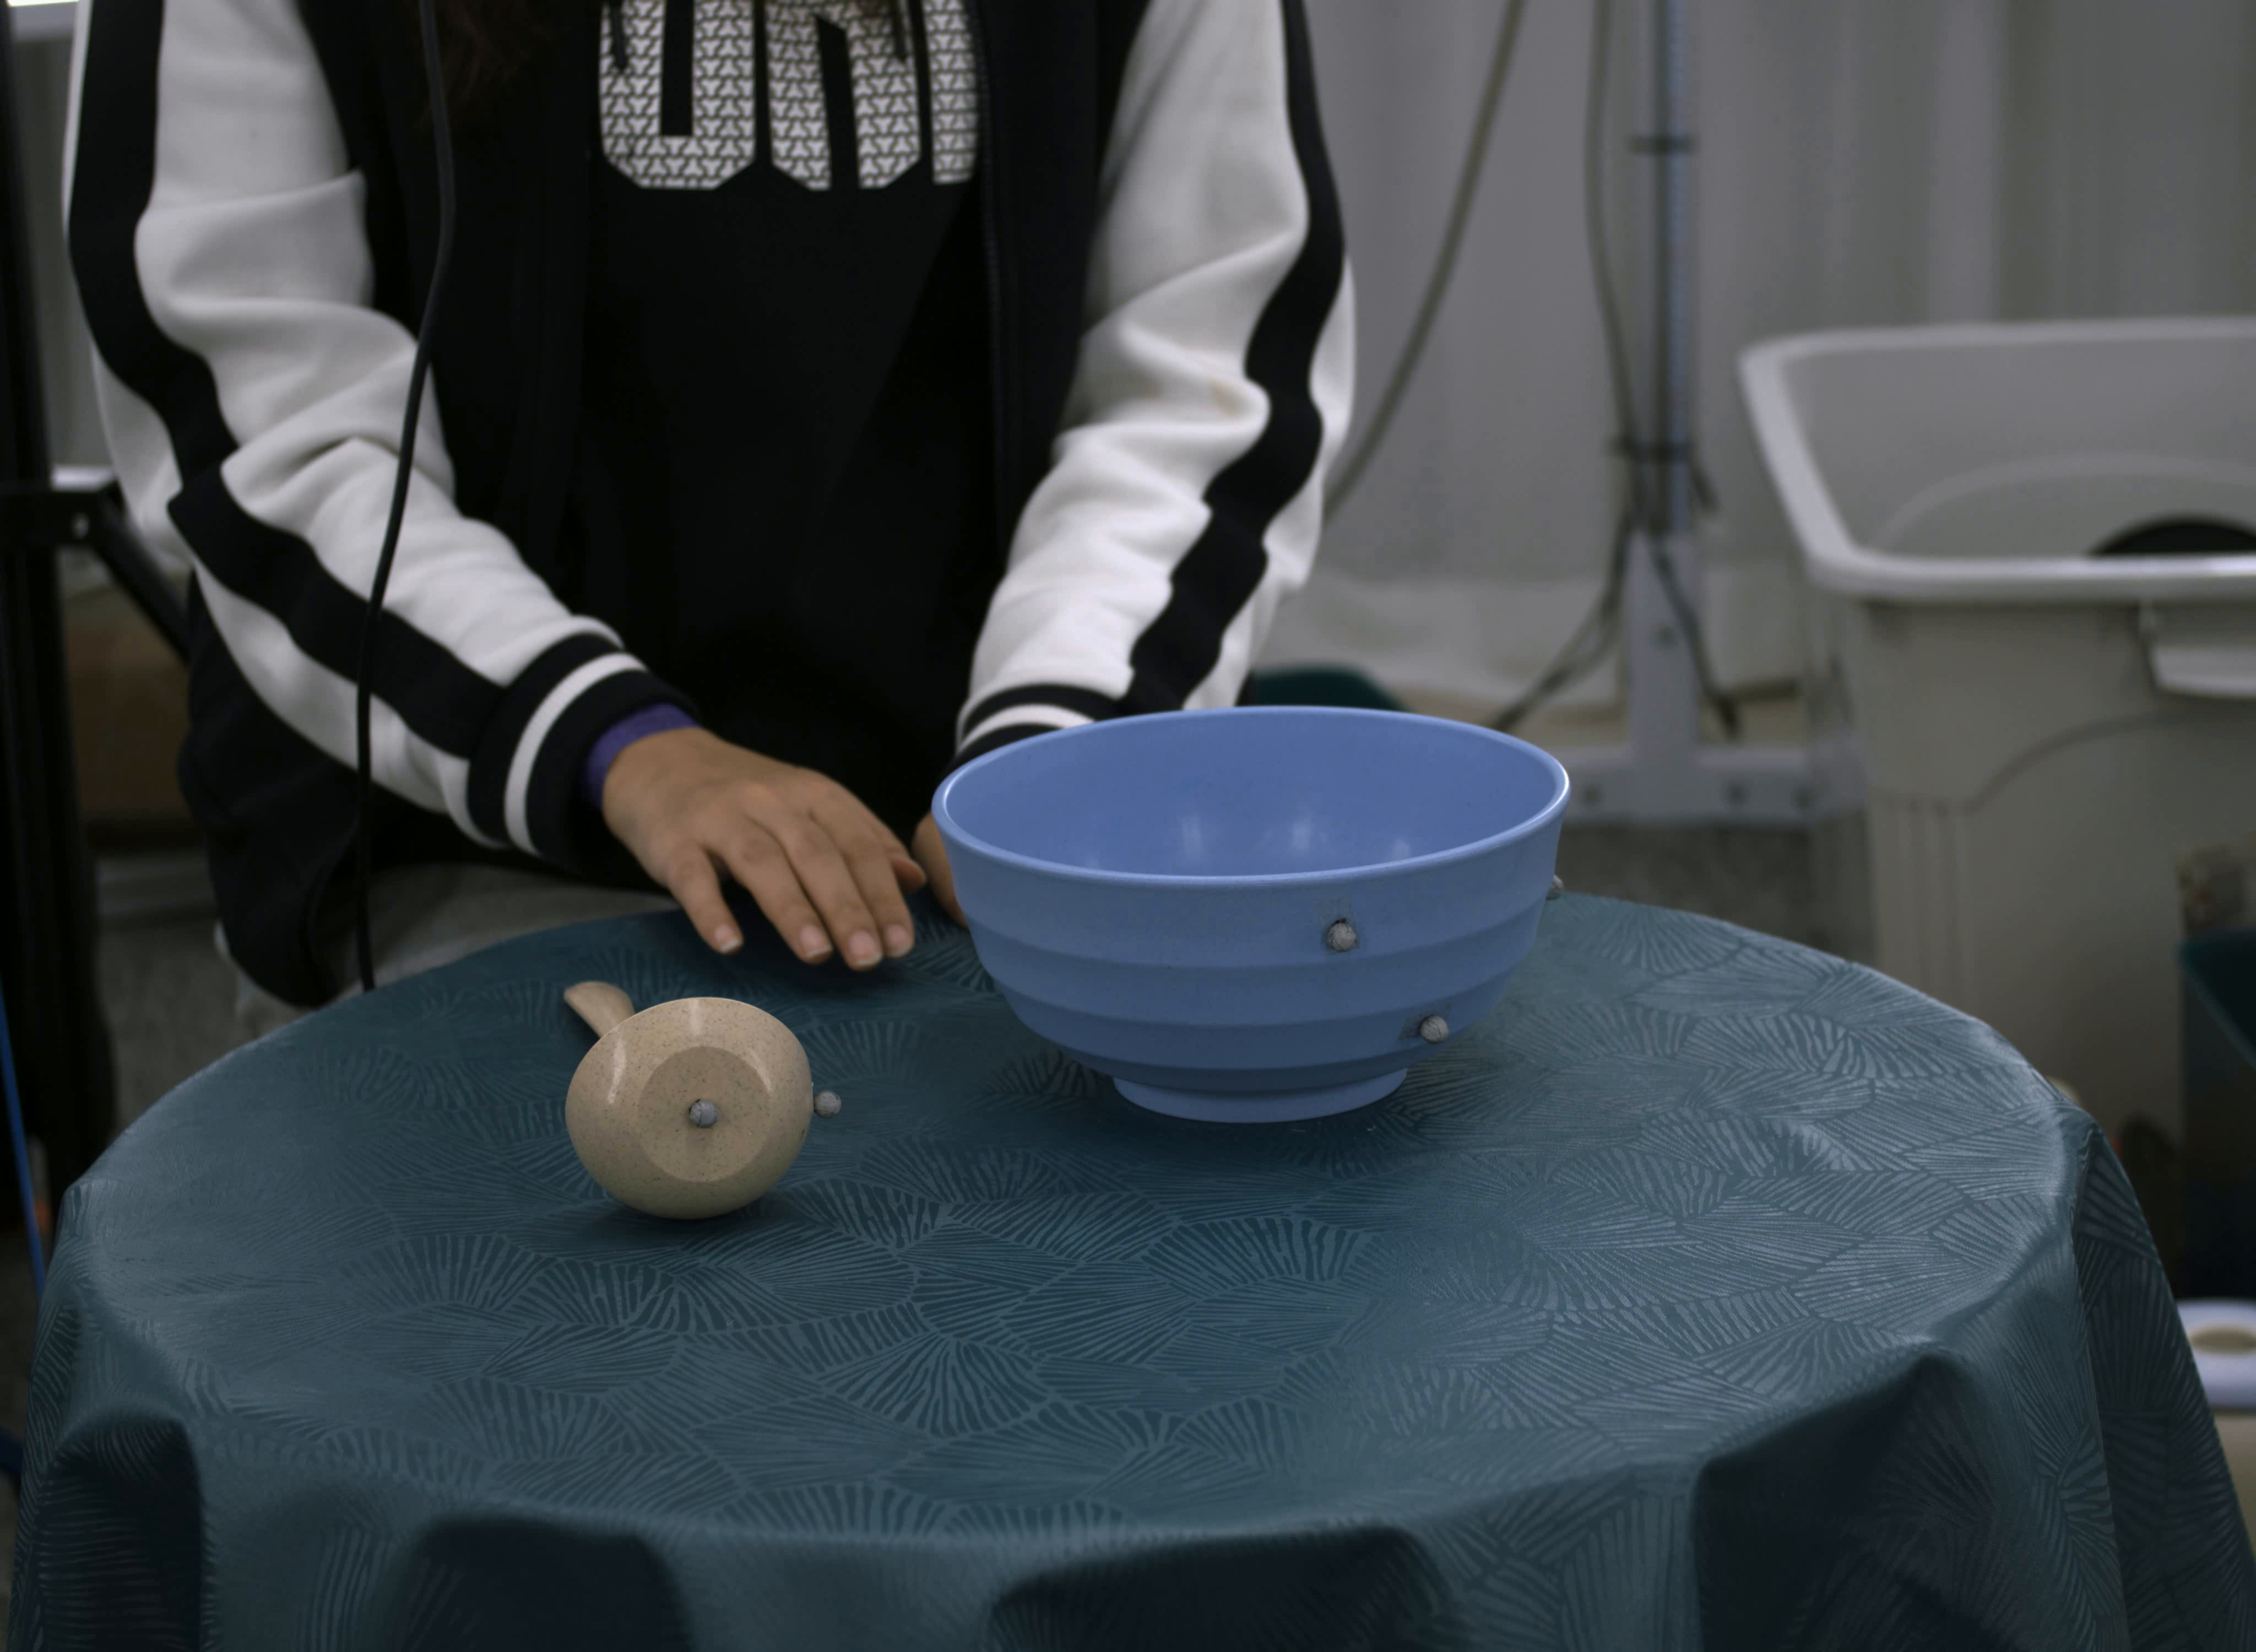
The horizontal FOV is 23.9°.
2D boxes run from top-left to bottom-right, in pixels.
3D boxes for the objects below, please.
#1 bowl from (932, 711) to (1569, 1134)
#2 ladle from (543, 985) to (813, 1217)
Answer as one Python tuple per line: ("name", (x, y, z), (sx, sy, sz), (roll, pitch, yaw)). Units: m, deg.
("bowl", (0.040, 0.036, 1.643), (0.195, 0.095, 0.197), (-4, 16, 0))
("ladle", (-0.153, 0.054, 1.640), (0.071, 0.073, 0.258), (-5, 16, -14))
